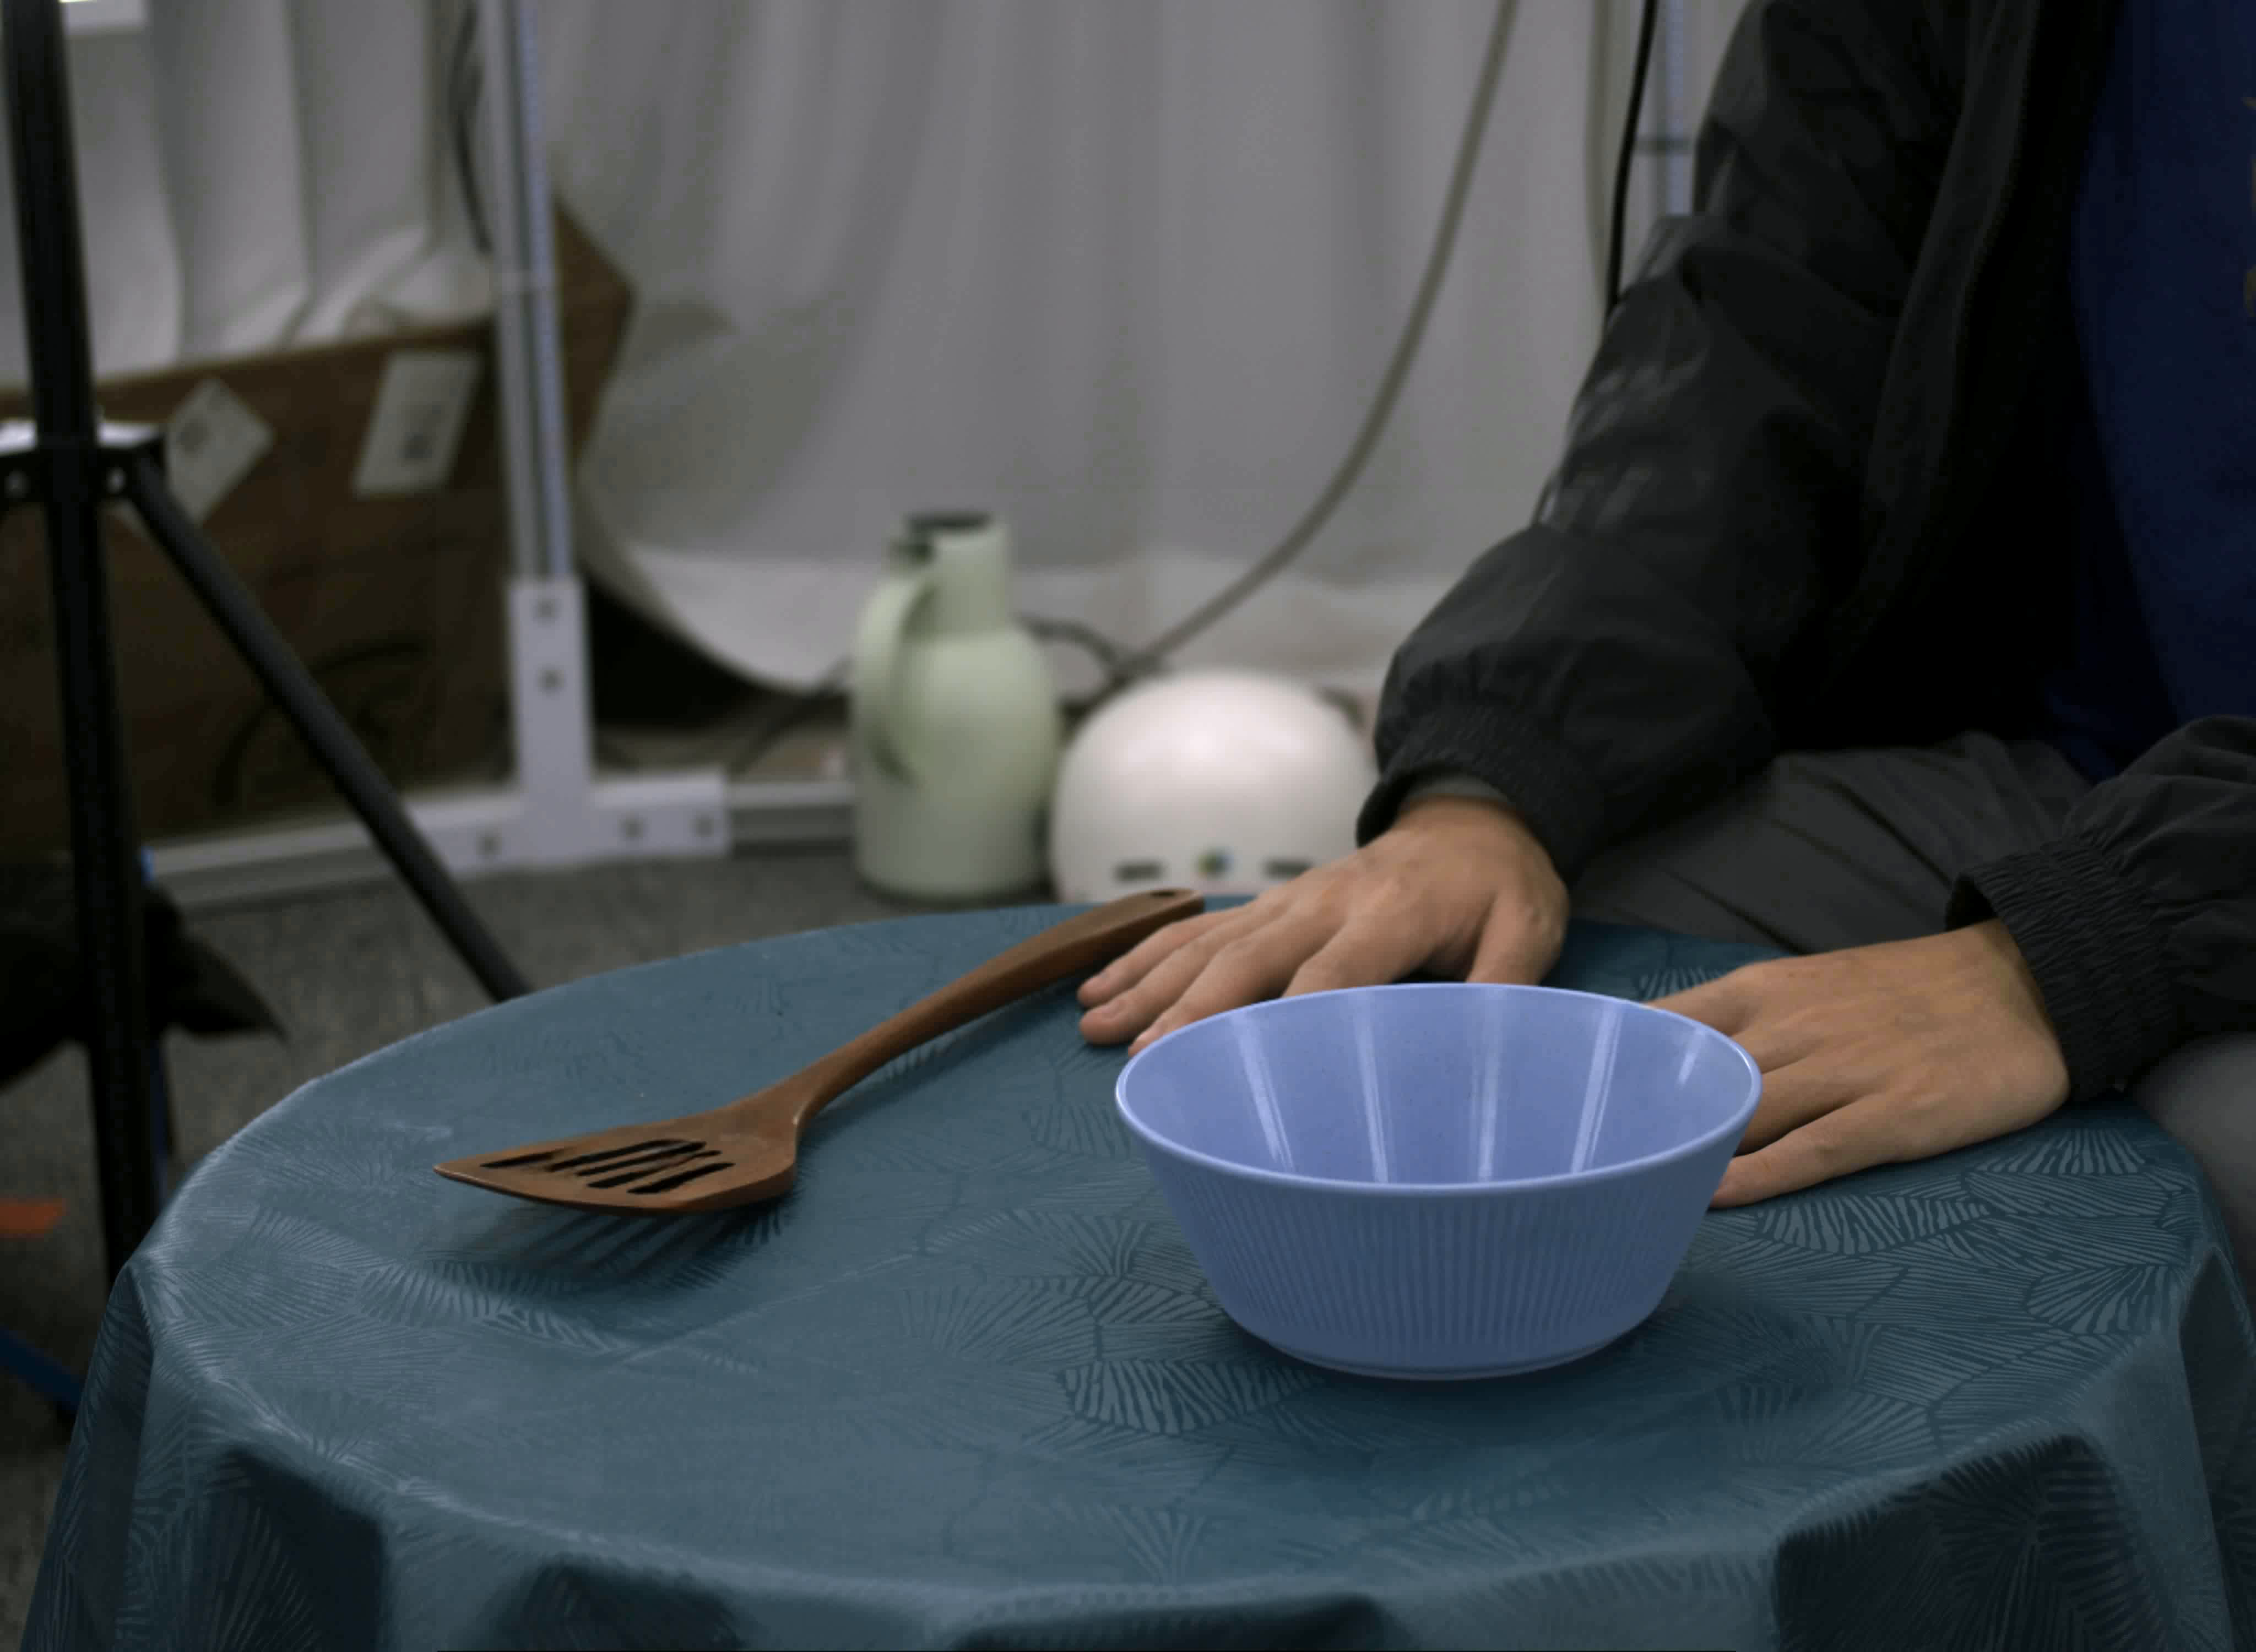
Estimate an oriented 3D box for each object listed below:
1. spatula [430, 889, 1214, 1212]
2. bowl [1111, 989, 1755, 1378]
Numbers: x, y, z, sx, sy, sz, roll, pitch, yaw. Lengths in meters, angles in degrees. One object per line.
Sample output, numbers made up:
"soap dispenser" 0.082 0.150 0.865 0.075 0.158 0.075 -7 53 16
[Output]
"spatula" -0.075 0.070 1.668 0.087 0.024 0.379 8 17 31
"bowl" 0.083 0.100 1.444 0.175 0.070 0.177 -2 15 -1
